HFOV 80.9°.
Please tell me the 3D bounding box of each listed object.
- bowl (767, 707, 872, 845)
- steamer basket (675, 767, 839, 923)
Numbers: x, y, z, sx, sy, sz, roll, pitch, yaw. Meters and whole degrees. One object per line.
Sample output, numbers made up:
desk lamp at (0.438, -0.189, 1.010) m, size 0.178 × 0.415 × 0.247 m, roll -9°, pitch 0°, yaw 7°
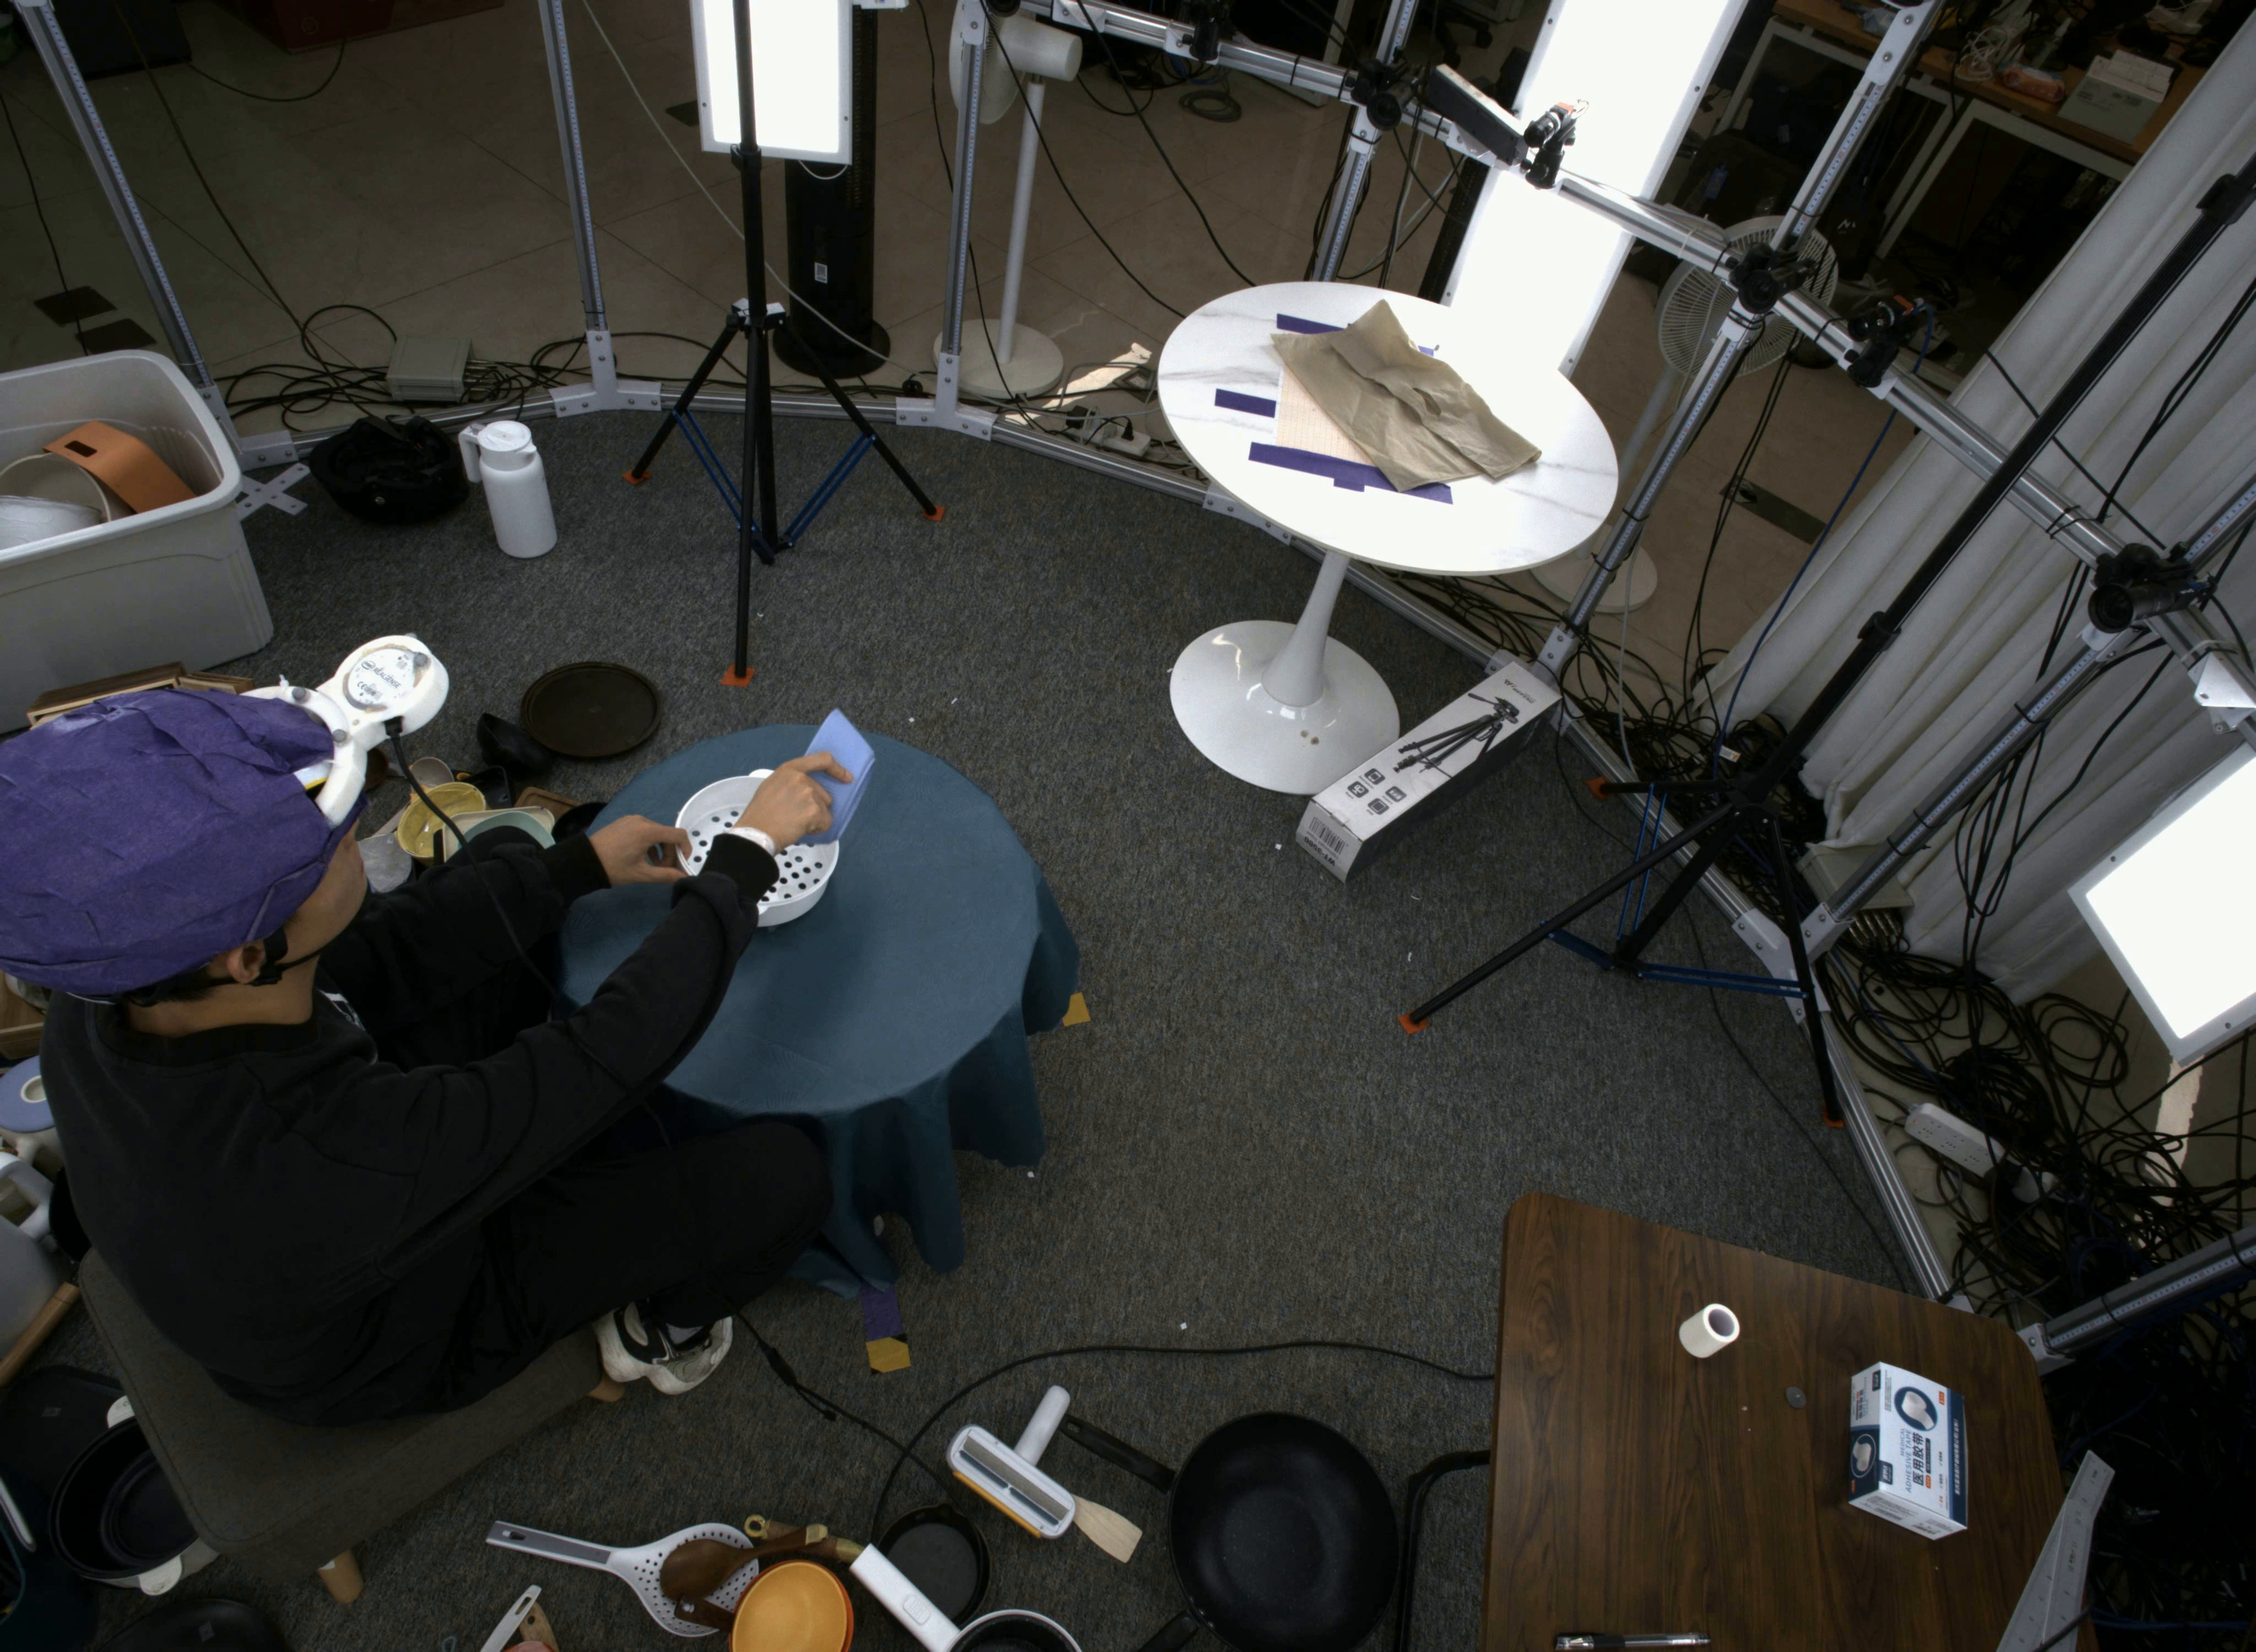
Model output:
bowl at (-0.358, -0.046, 1.536) m, size 0.070 × 0.177 × 0.174 m, roll 26°, pitch 50°, yaw -5°
steamer basket at (-0.471, 0.028, 1.639) m, size 0.203 × 0.070 × 0.226 m, roll 15°, pitch 48°, yaw -14°
